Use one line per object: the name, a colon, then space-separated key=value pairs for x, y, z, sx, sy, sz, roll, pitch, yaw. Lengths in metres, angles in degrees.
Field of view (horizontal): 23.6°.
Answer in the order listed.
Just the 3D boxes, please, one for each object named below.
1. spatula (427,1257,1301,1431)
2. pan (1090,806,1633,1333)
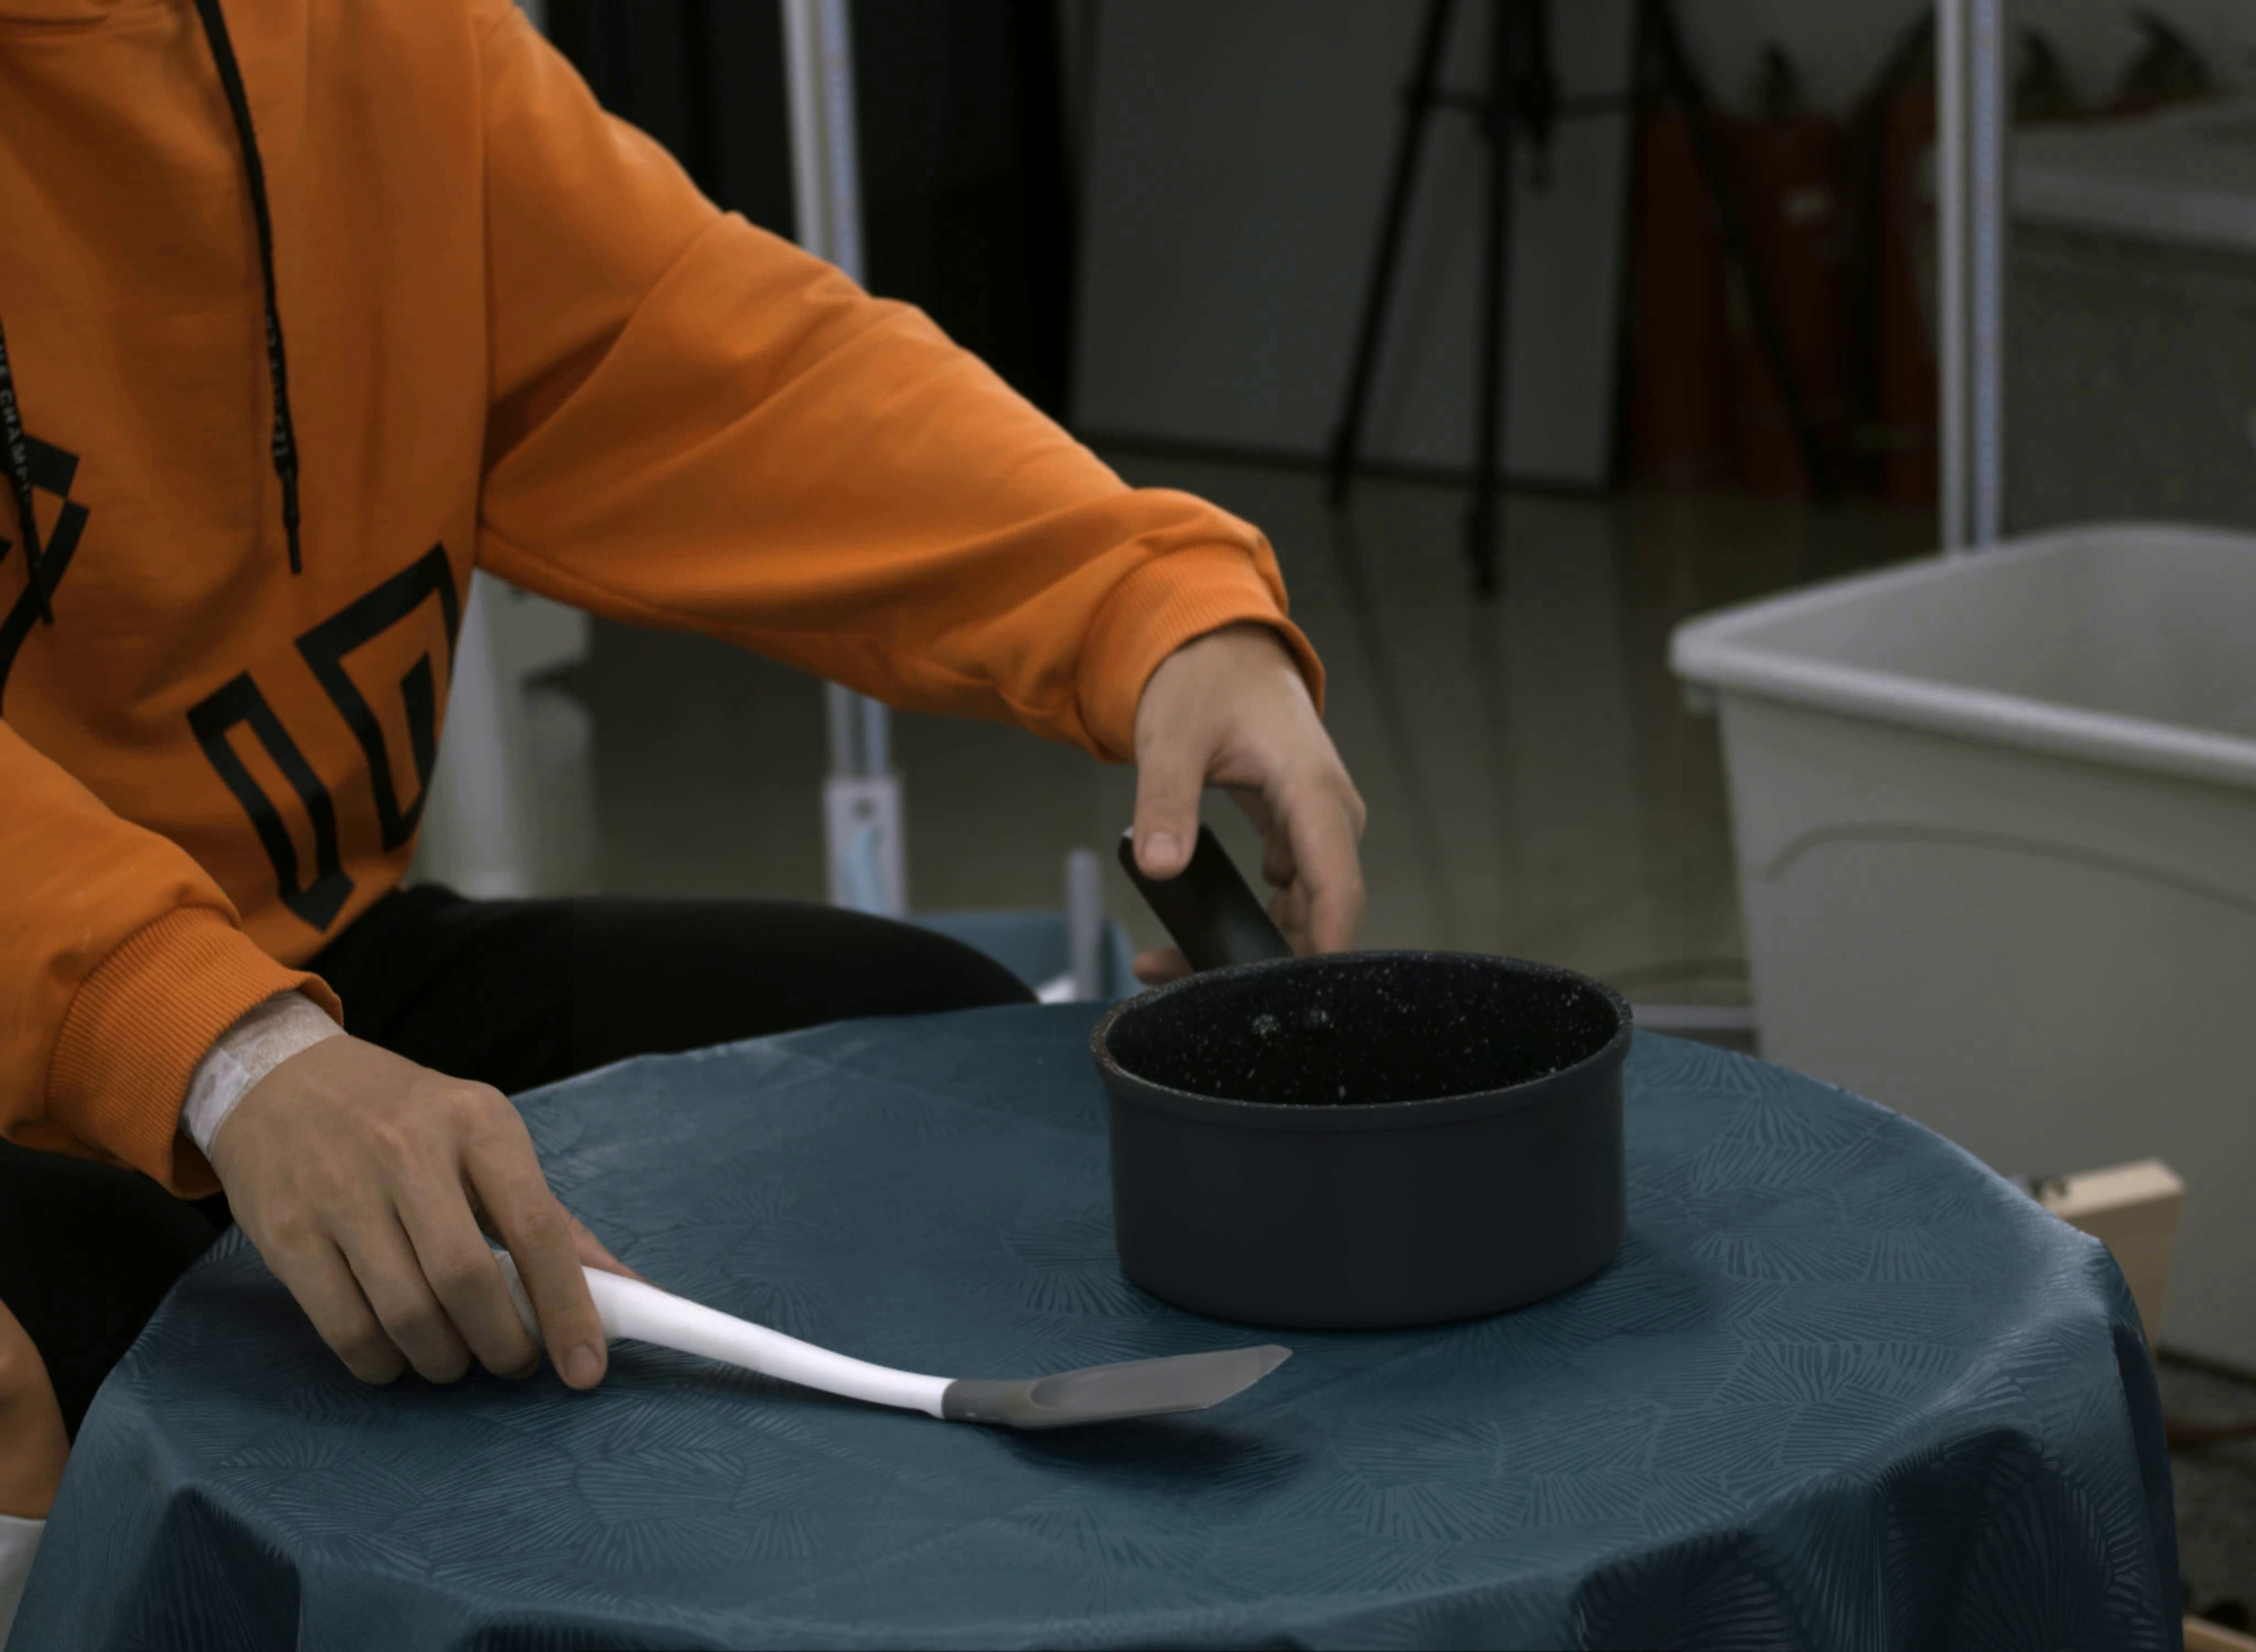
spatula: x=-0.082 y=0.155 z=1.590 sx=0.288 sy=0.032 sz=0.058 roll=3 pitch=12 yaw=30
pan: x=0.058 y=0.075 z=1.761 sx=0.169 sy=0.087 sz=0.331 roll=-6 pitch=15 yaw=-10
